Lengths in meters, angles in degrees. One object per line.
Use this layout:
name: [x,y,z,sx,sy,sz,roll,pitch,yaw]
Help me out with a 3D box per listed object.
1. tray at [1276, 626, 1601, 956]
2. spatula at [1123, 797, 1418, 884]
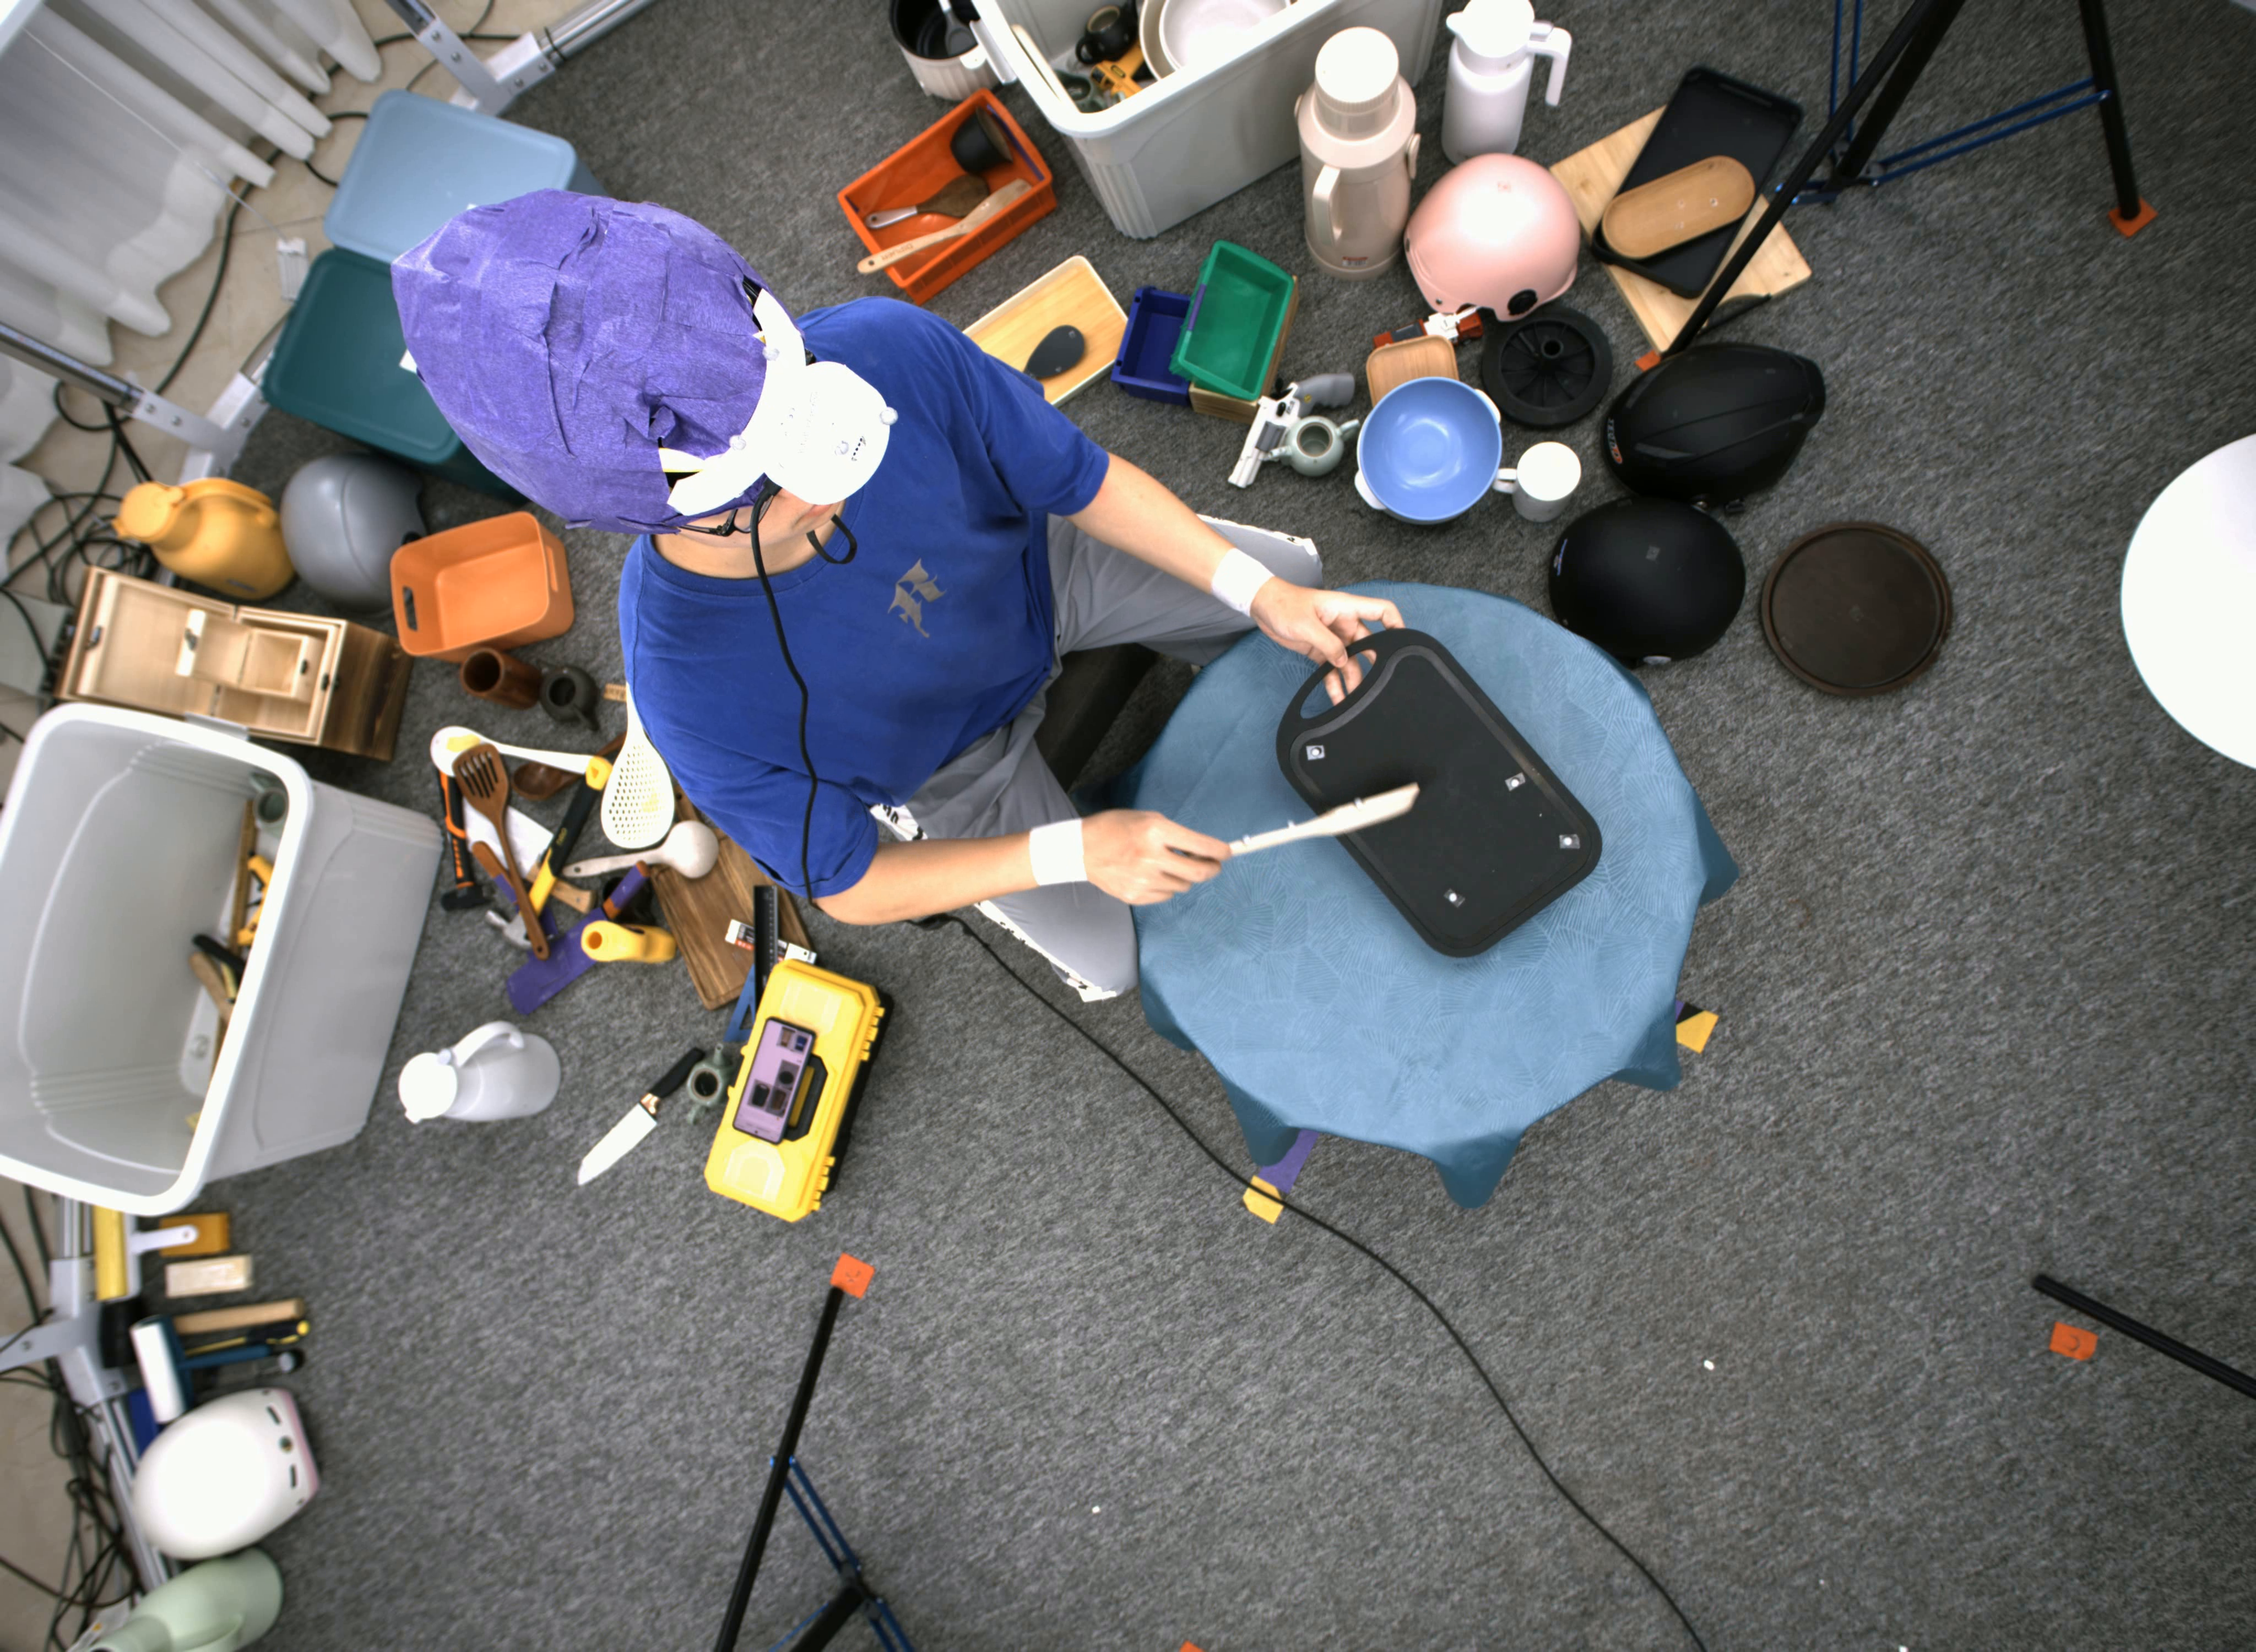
tray: [0.295,-0.038,1.356,0.215,0.009,0.325,-40,89,28]
spatula: [0.137,0.017,1.339,0.293,0.073,0.010,-14,75,1]
